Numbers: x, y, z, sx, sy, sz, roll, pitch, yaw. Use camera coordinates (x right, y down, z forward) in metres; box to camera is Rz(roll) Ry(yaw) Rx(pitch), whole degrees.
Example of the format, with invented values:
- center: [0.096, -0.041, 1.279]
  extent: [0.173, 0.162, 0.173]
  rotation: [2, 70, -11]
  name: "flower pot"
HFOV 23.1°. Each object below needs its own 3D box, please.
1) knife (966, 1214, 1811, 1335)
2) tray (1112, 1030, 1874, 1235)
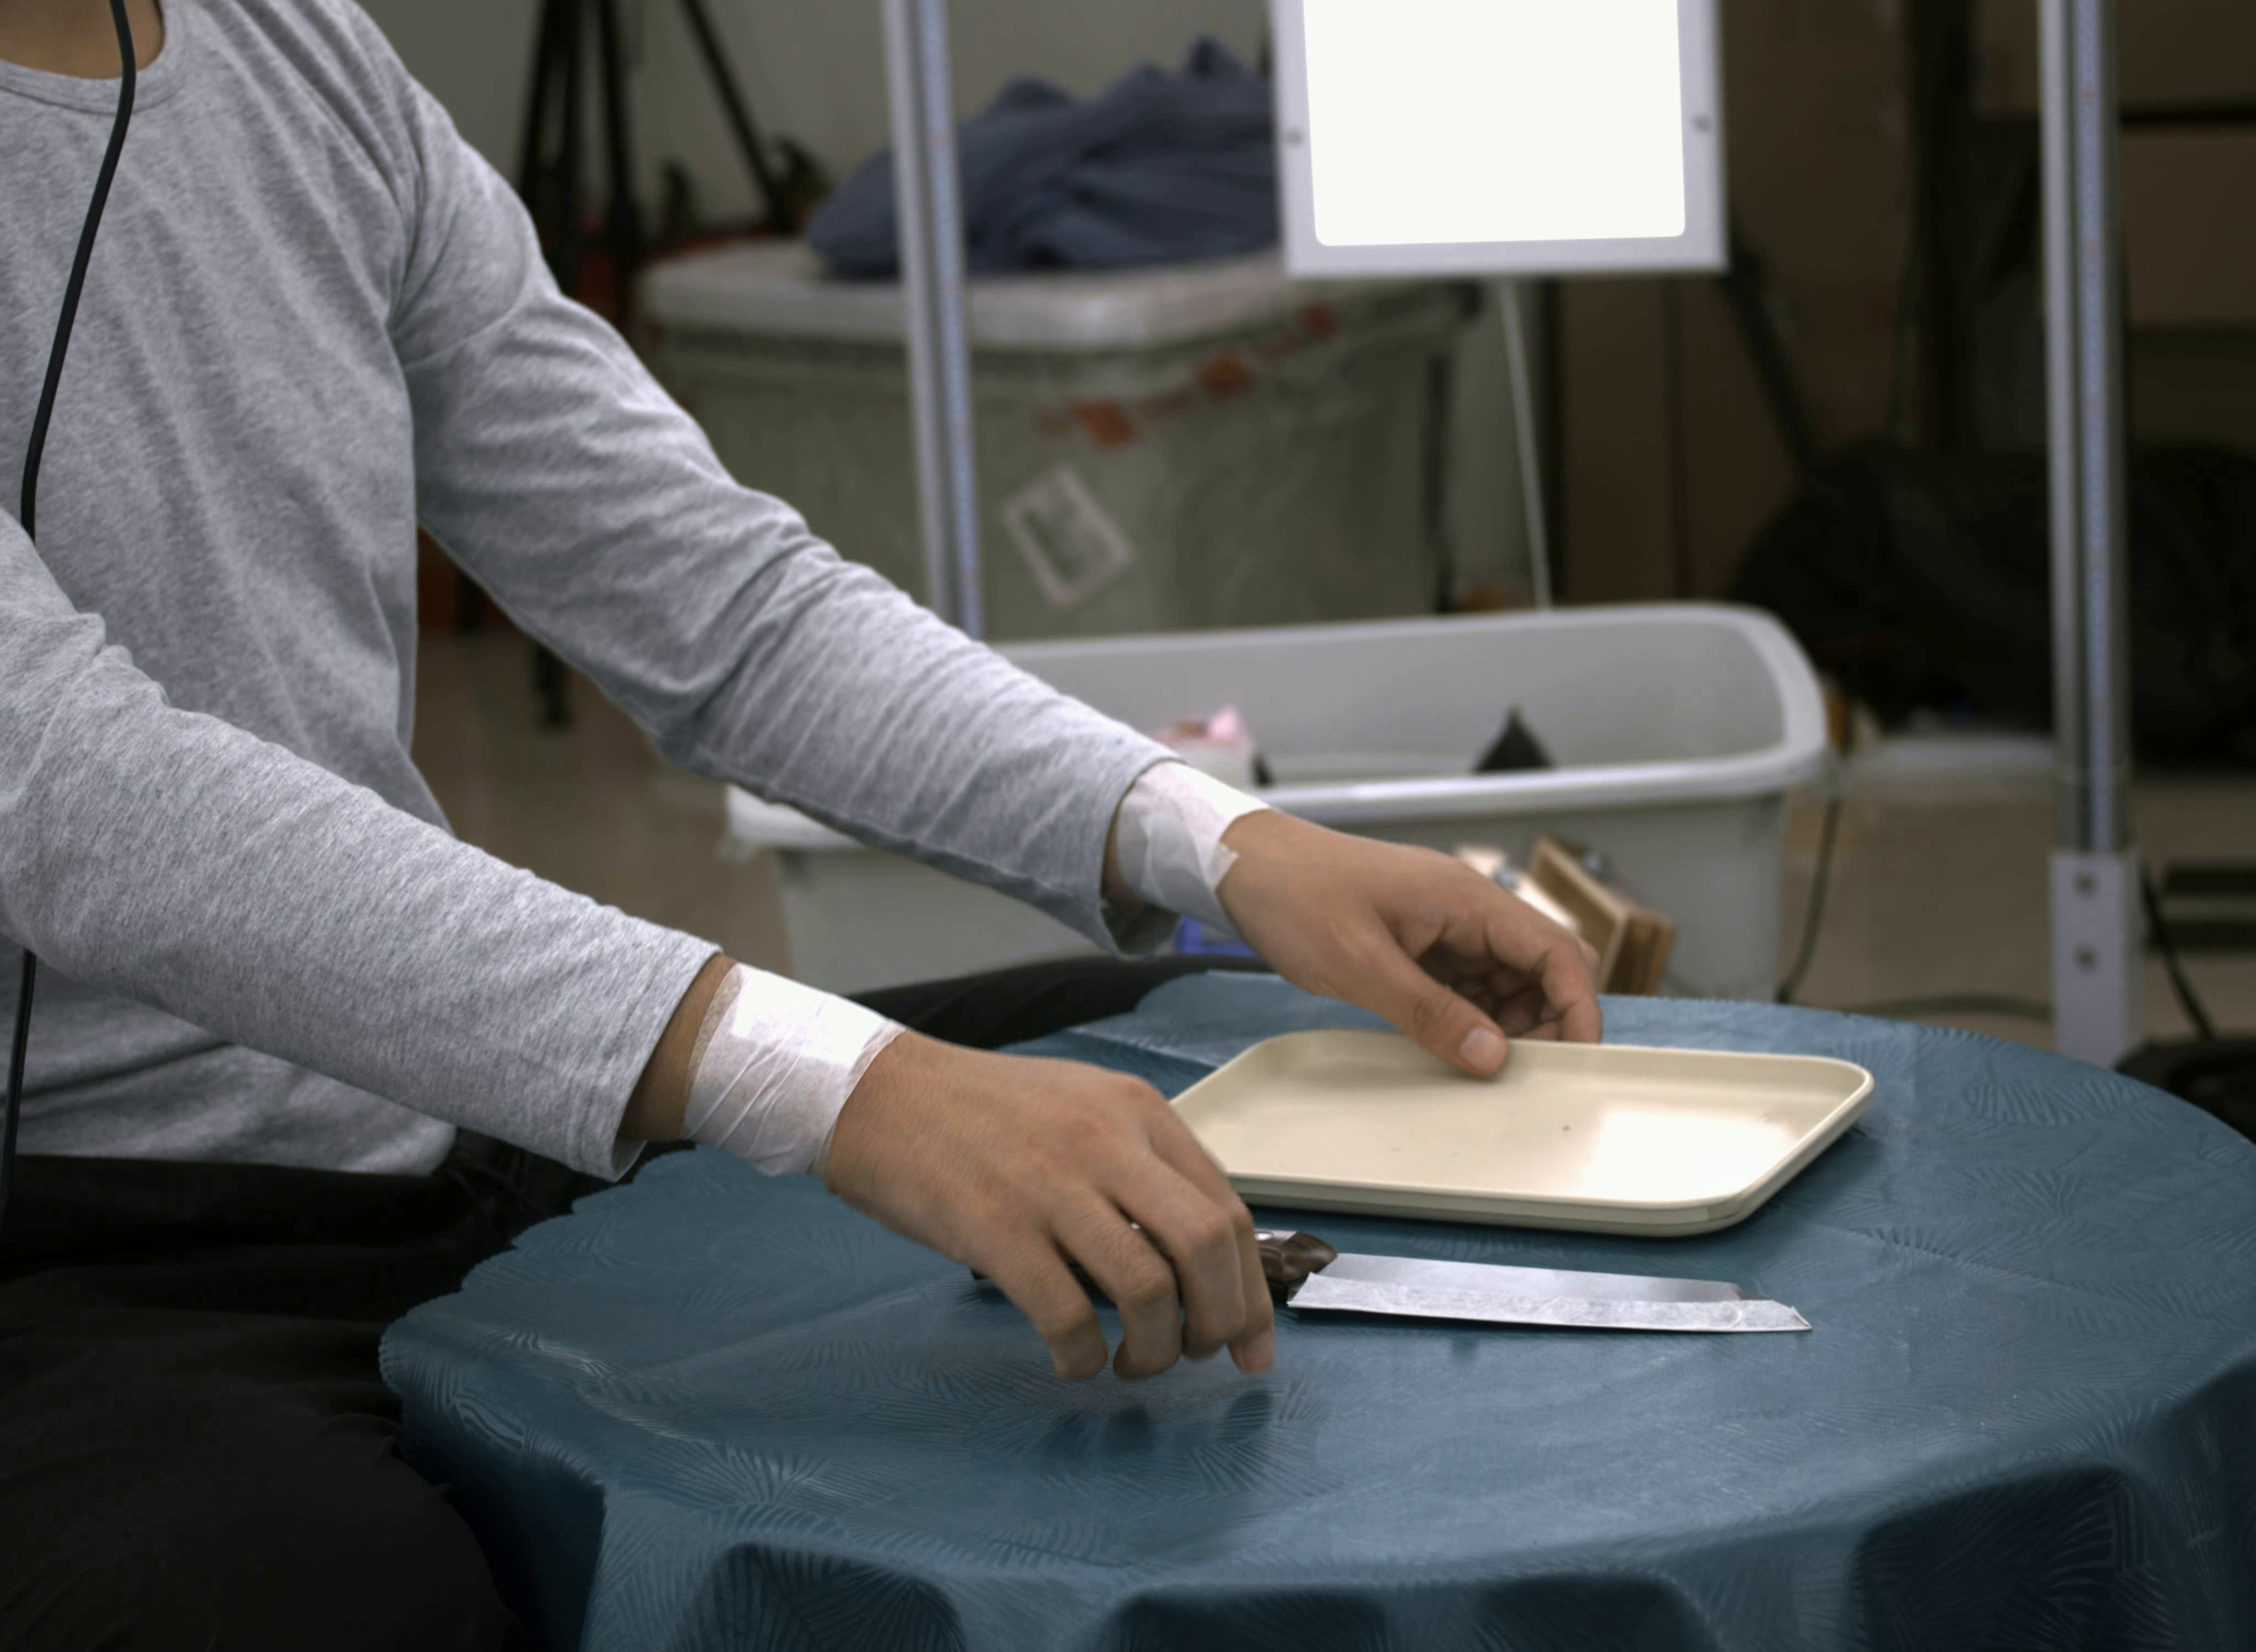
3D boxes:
- center: [0.080, 0.146, 1.763]
  extent: [0.293, 0.020, 0.049]
  rotation: [3, 21, 23]
  name: "knife"
- center: [0.128, 0.106, 1.905]
  extent: [0.244, 0.017, 0.167]
  rotation: [2, 15, 29]
  name: "tray"
